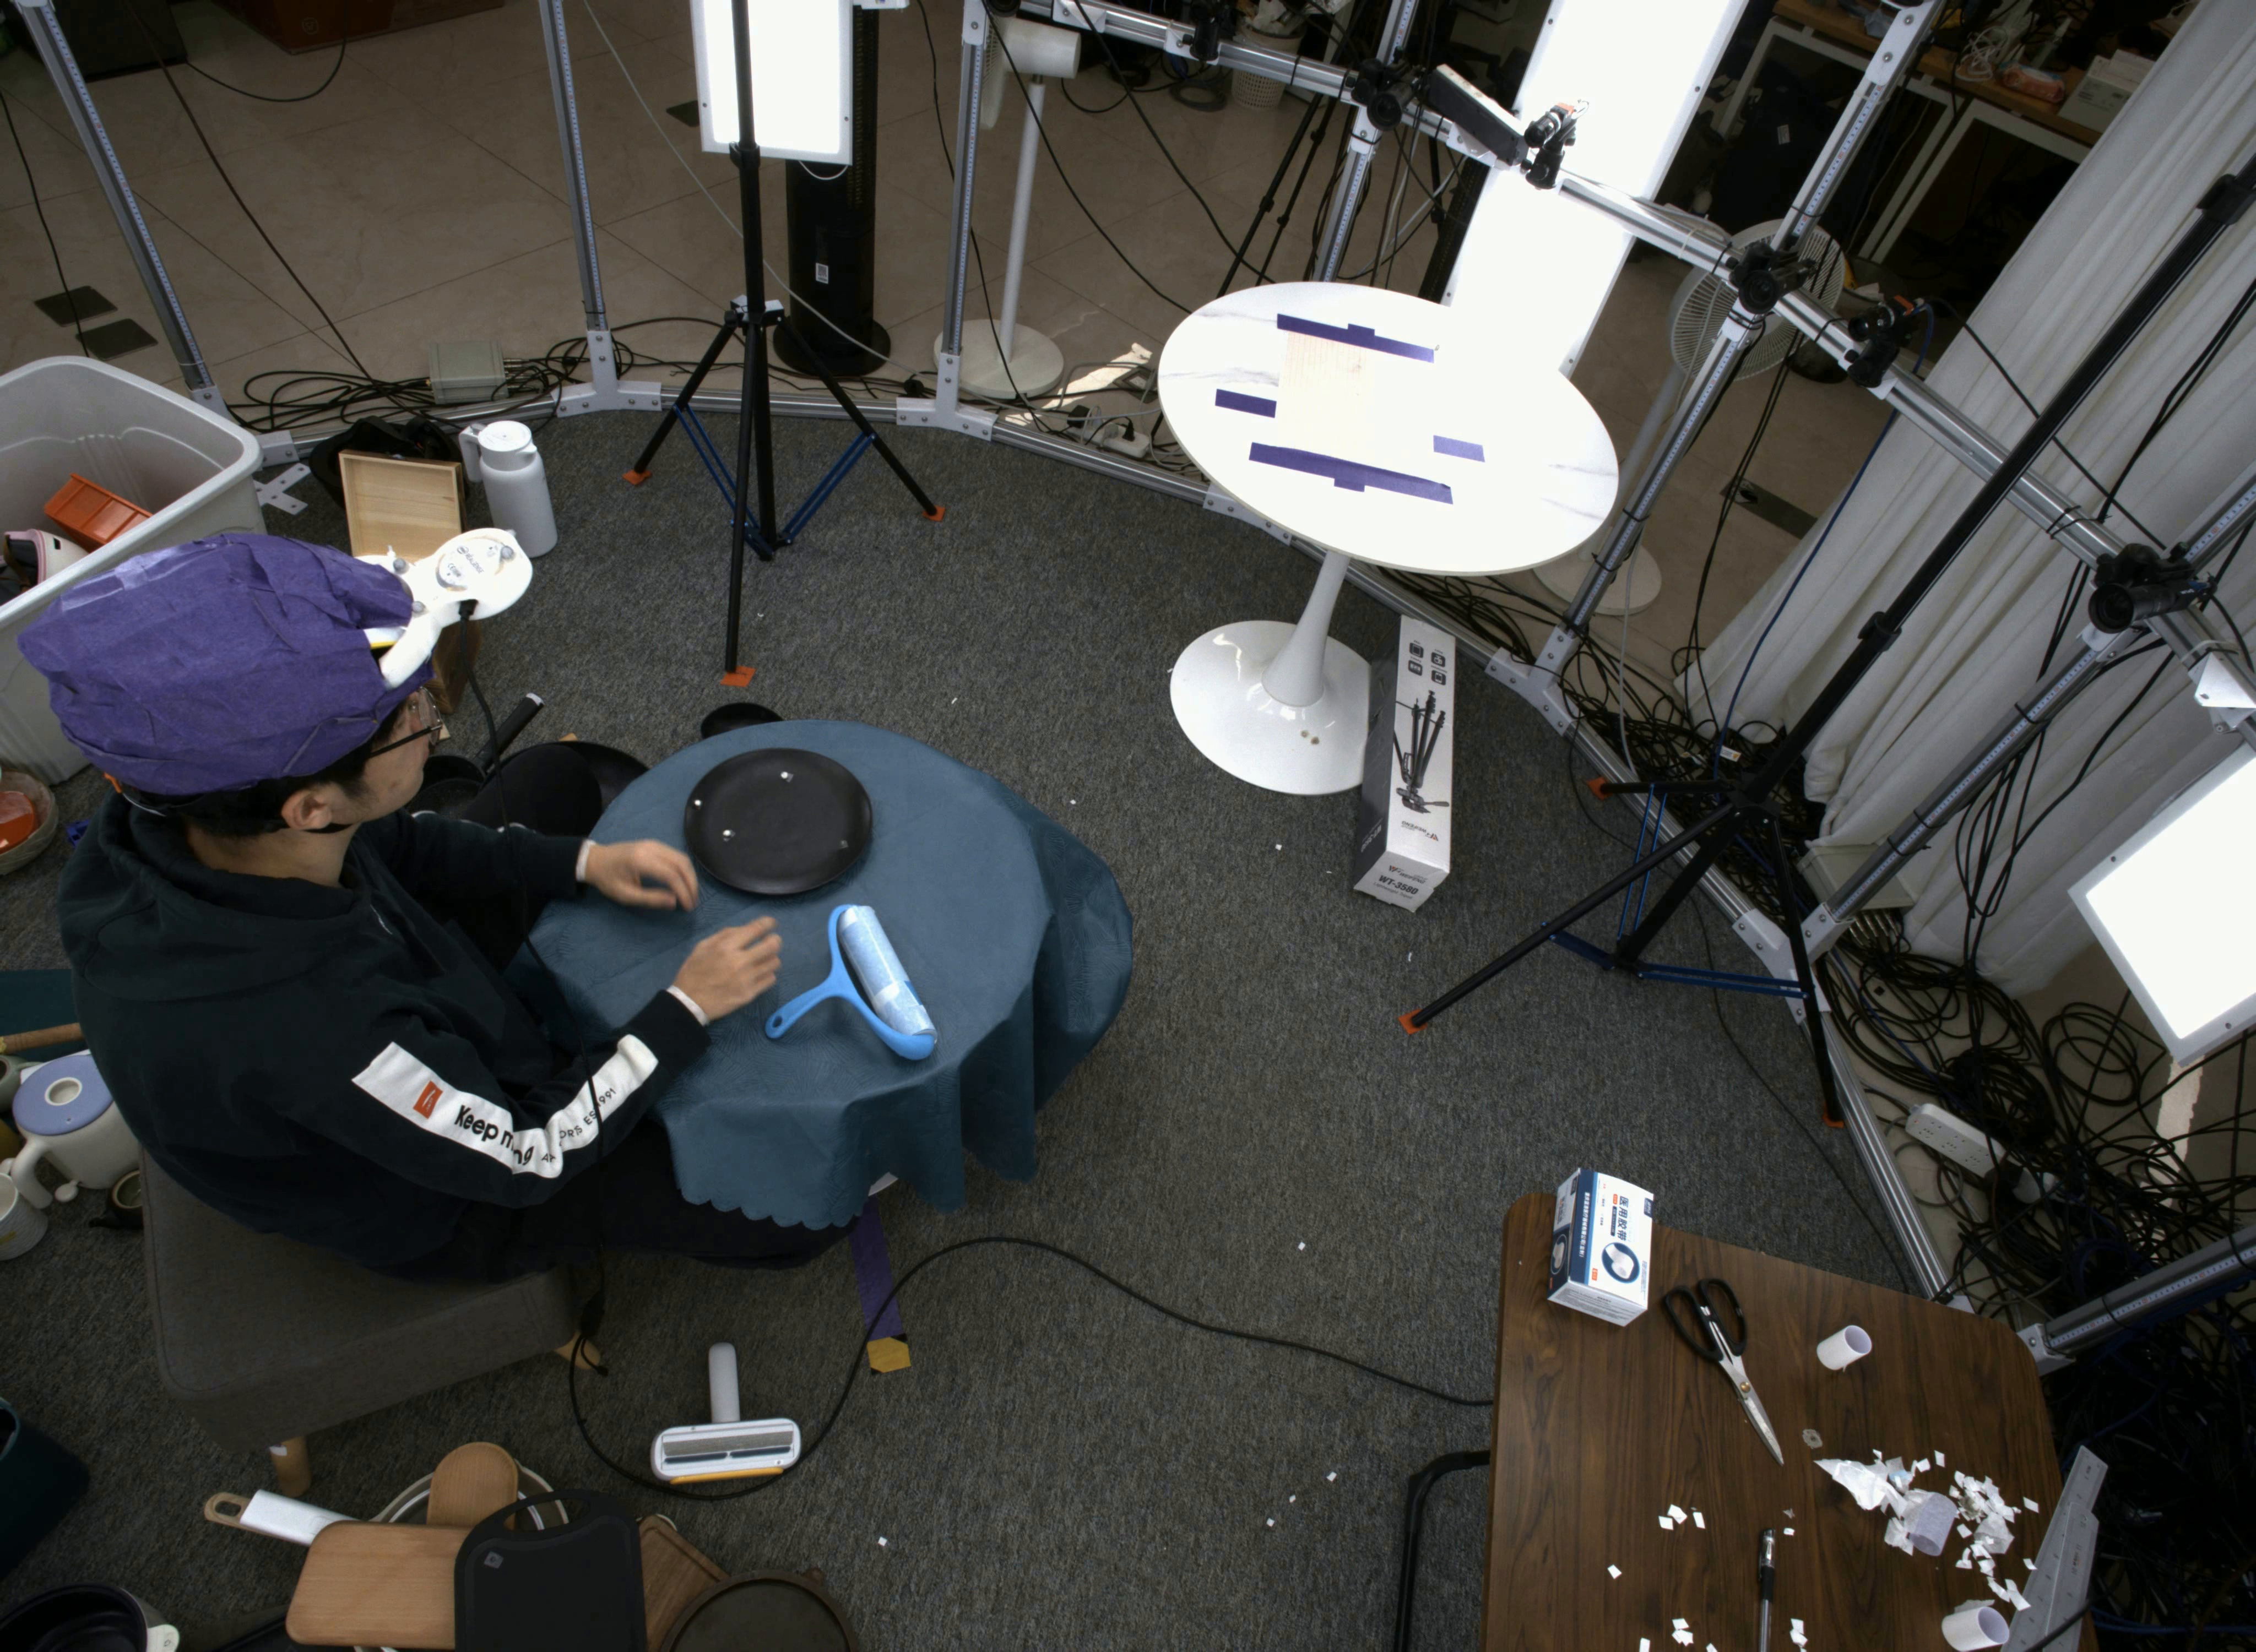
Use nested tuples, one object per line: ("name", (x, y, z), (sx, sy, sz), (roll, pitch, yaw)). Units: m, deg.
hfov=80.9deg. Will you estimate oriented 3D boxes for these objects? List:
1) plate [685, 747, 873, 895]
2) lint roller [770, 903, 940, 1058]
("plate", (-0.459, -0.006, 1.711), (0.244, 0.024, 0.240), (8, 53, -9))
("lint roller", (-0.345, 0.204, 1.564), (0.181, 0.069, 0.224), (-23, 64, -28))
